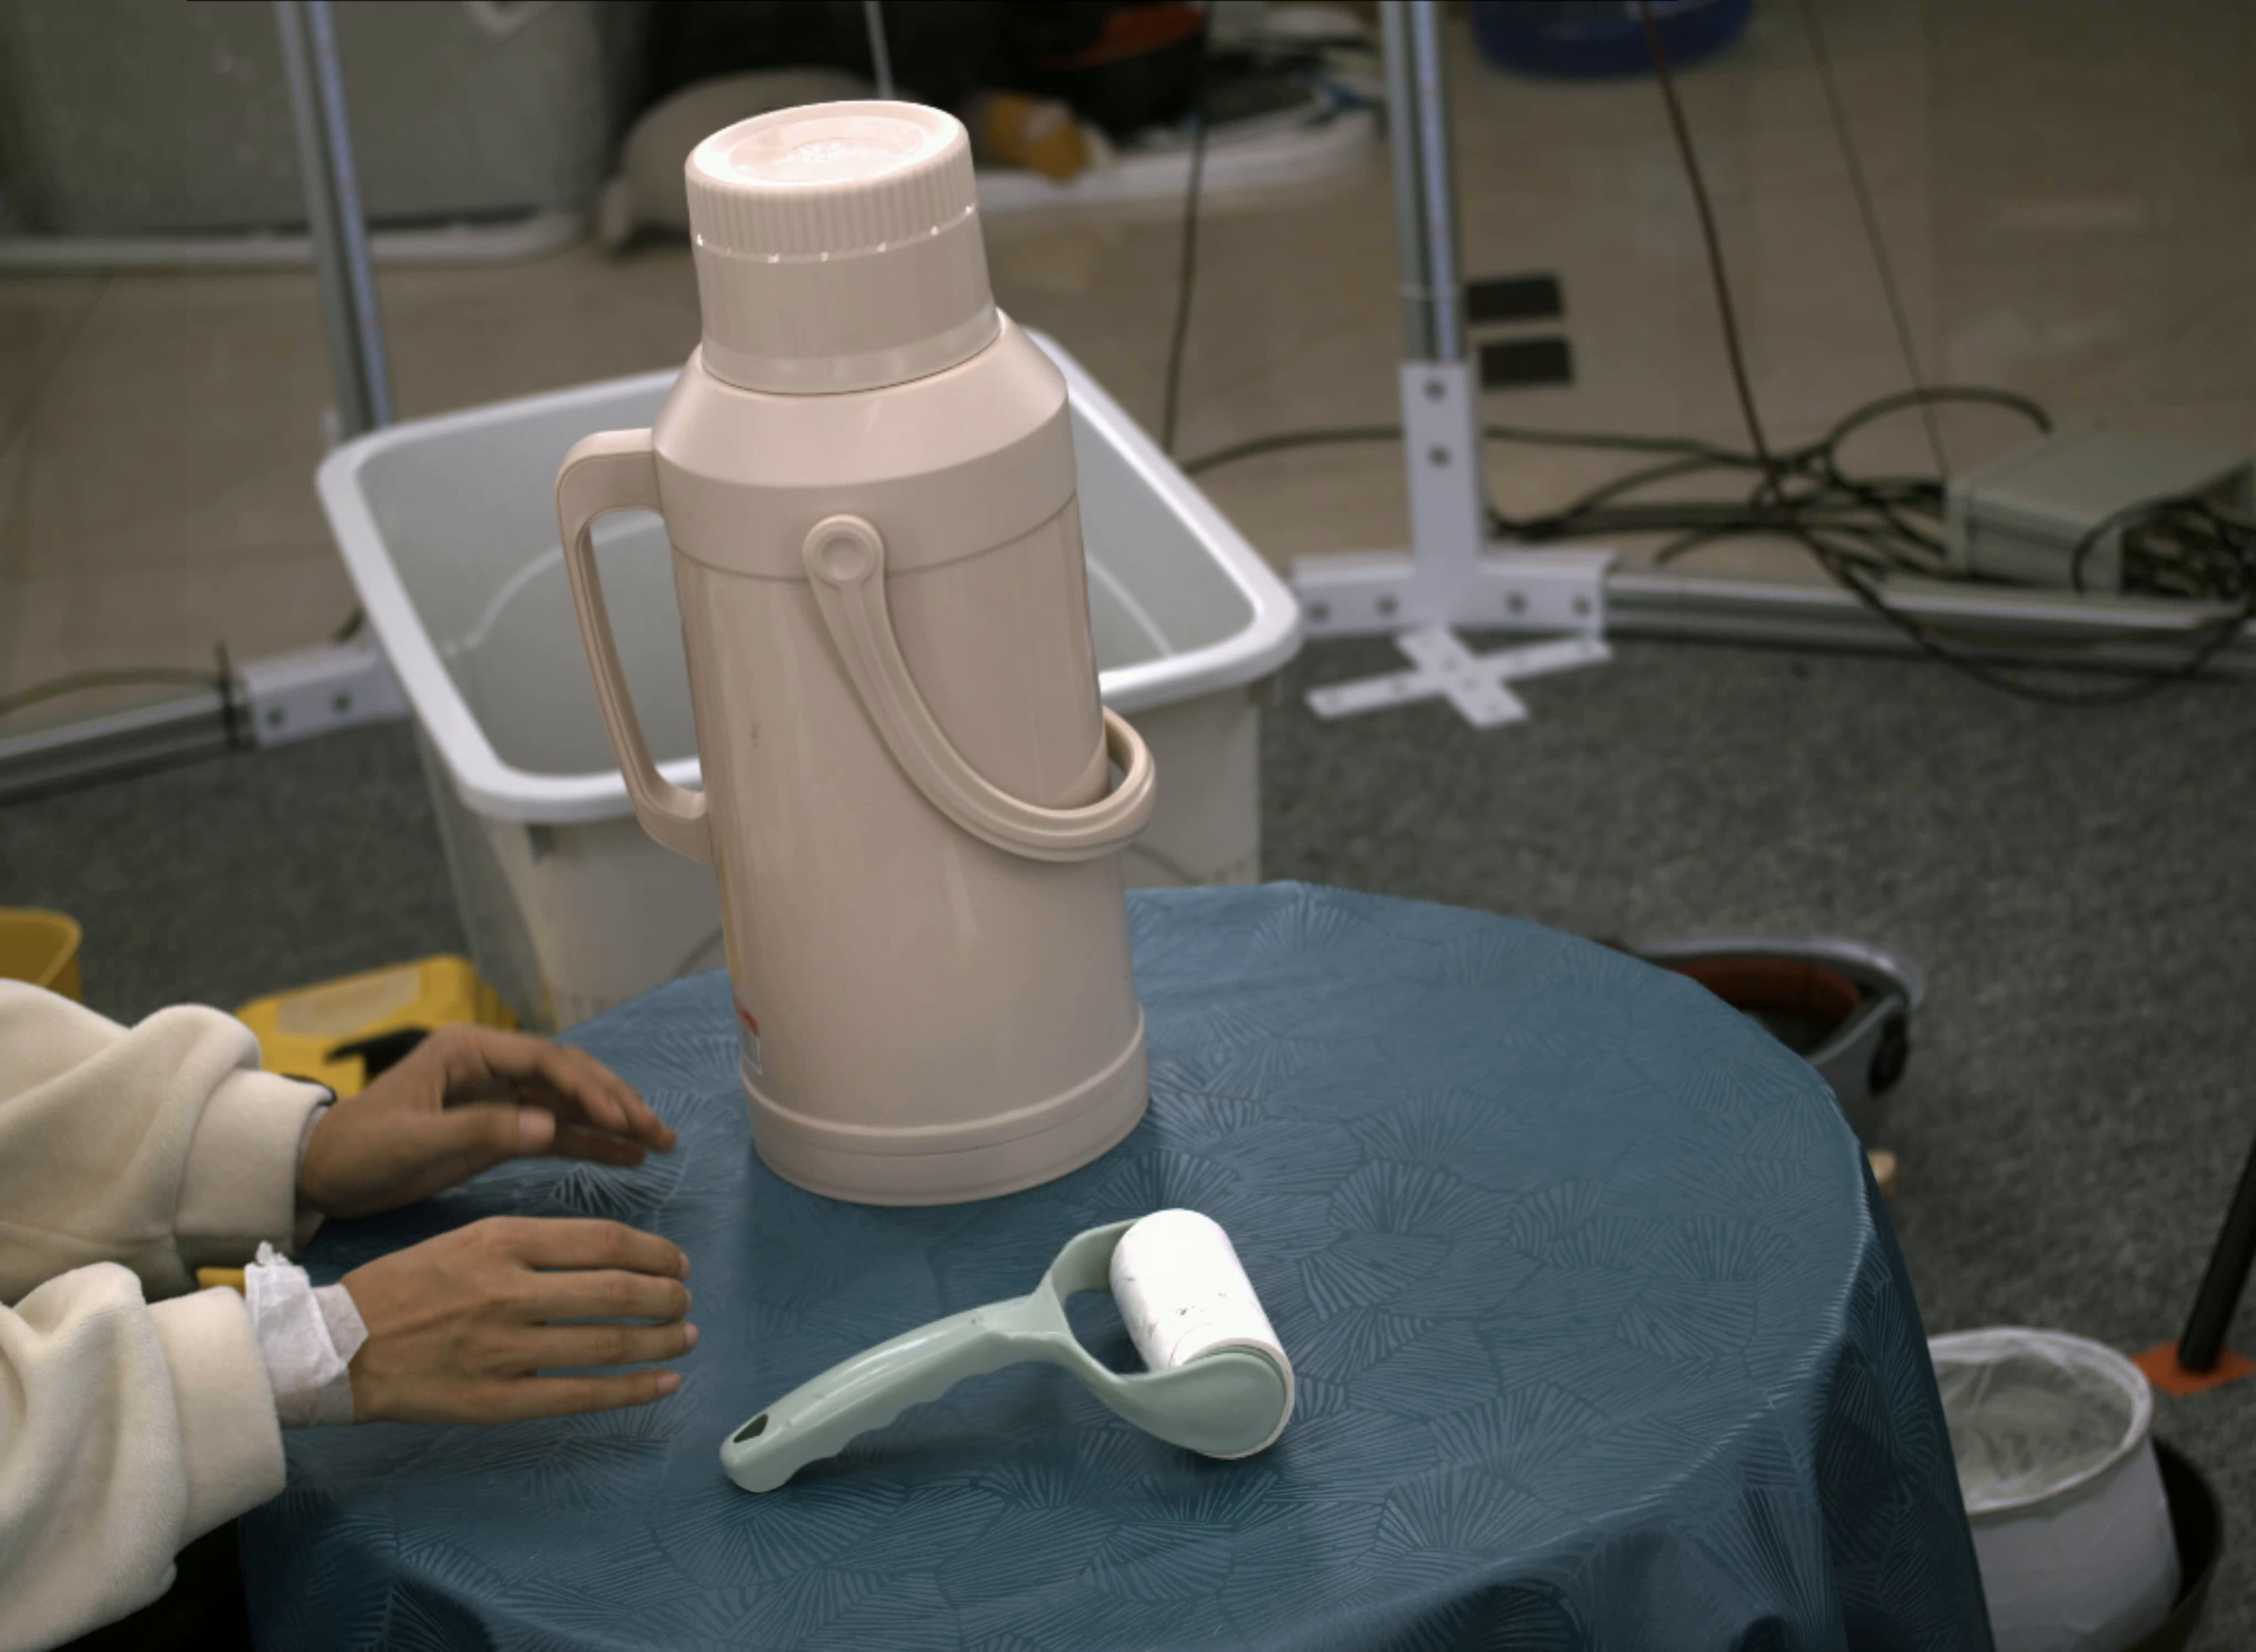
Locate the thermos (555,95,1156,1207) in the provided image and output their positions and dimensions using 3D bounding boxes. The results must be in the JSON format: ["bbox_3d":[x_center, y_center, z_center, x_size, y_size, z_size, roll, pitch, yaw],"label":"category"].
[{"bbox_3d":[-0.103,-0.066,2.137,0.207,0.413,0.172,-4,26,5],"label":"thermos"}]

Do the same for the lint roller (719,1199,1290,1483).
[{"bbox_3d":[-0.049,0.188,1.997,0.197,0.049,0.115,-10,27,-8],"label":"lint roller"}]
